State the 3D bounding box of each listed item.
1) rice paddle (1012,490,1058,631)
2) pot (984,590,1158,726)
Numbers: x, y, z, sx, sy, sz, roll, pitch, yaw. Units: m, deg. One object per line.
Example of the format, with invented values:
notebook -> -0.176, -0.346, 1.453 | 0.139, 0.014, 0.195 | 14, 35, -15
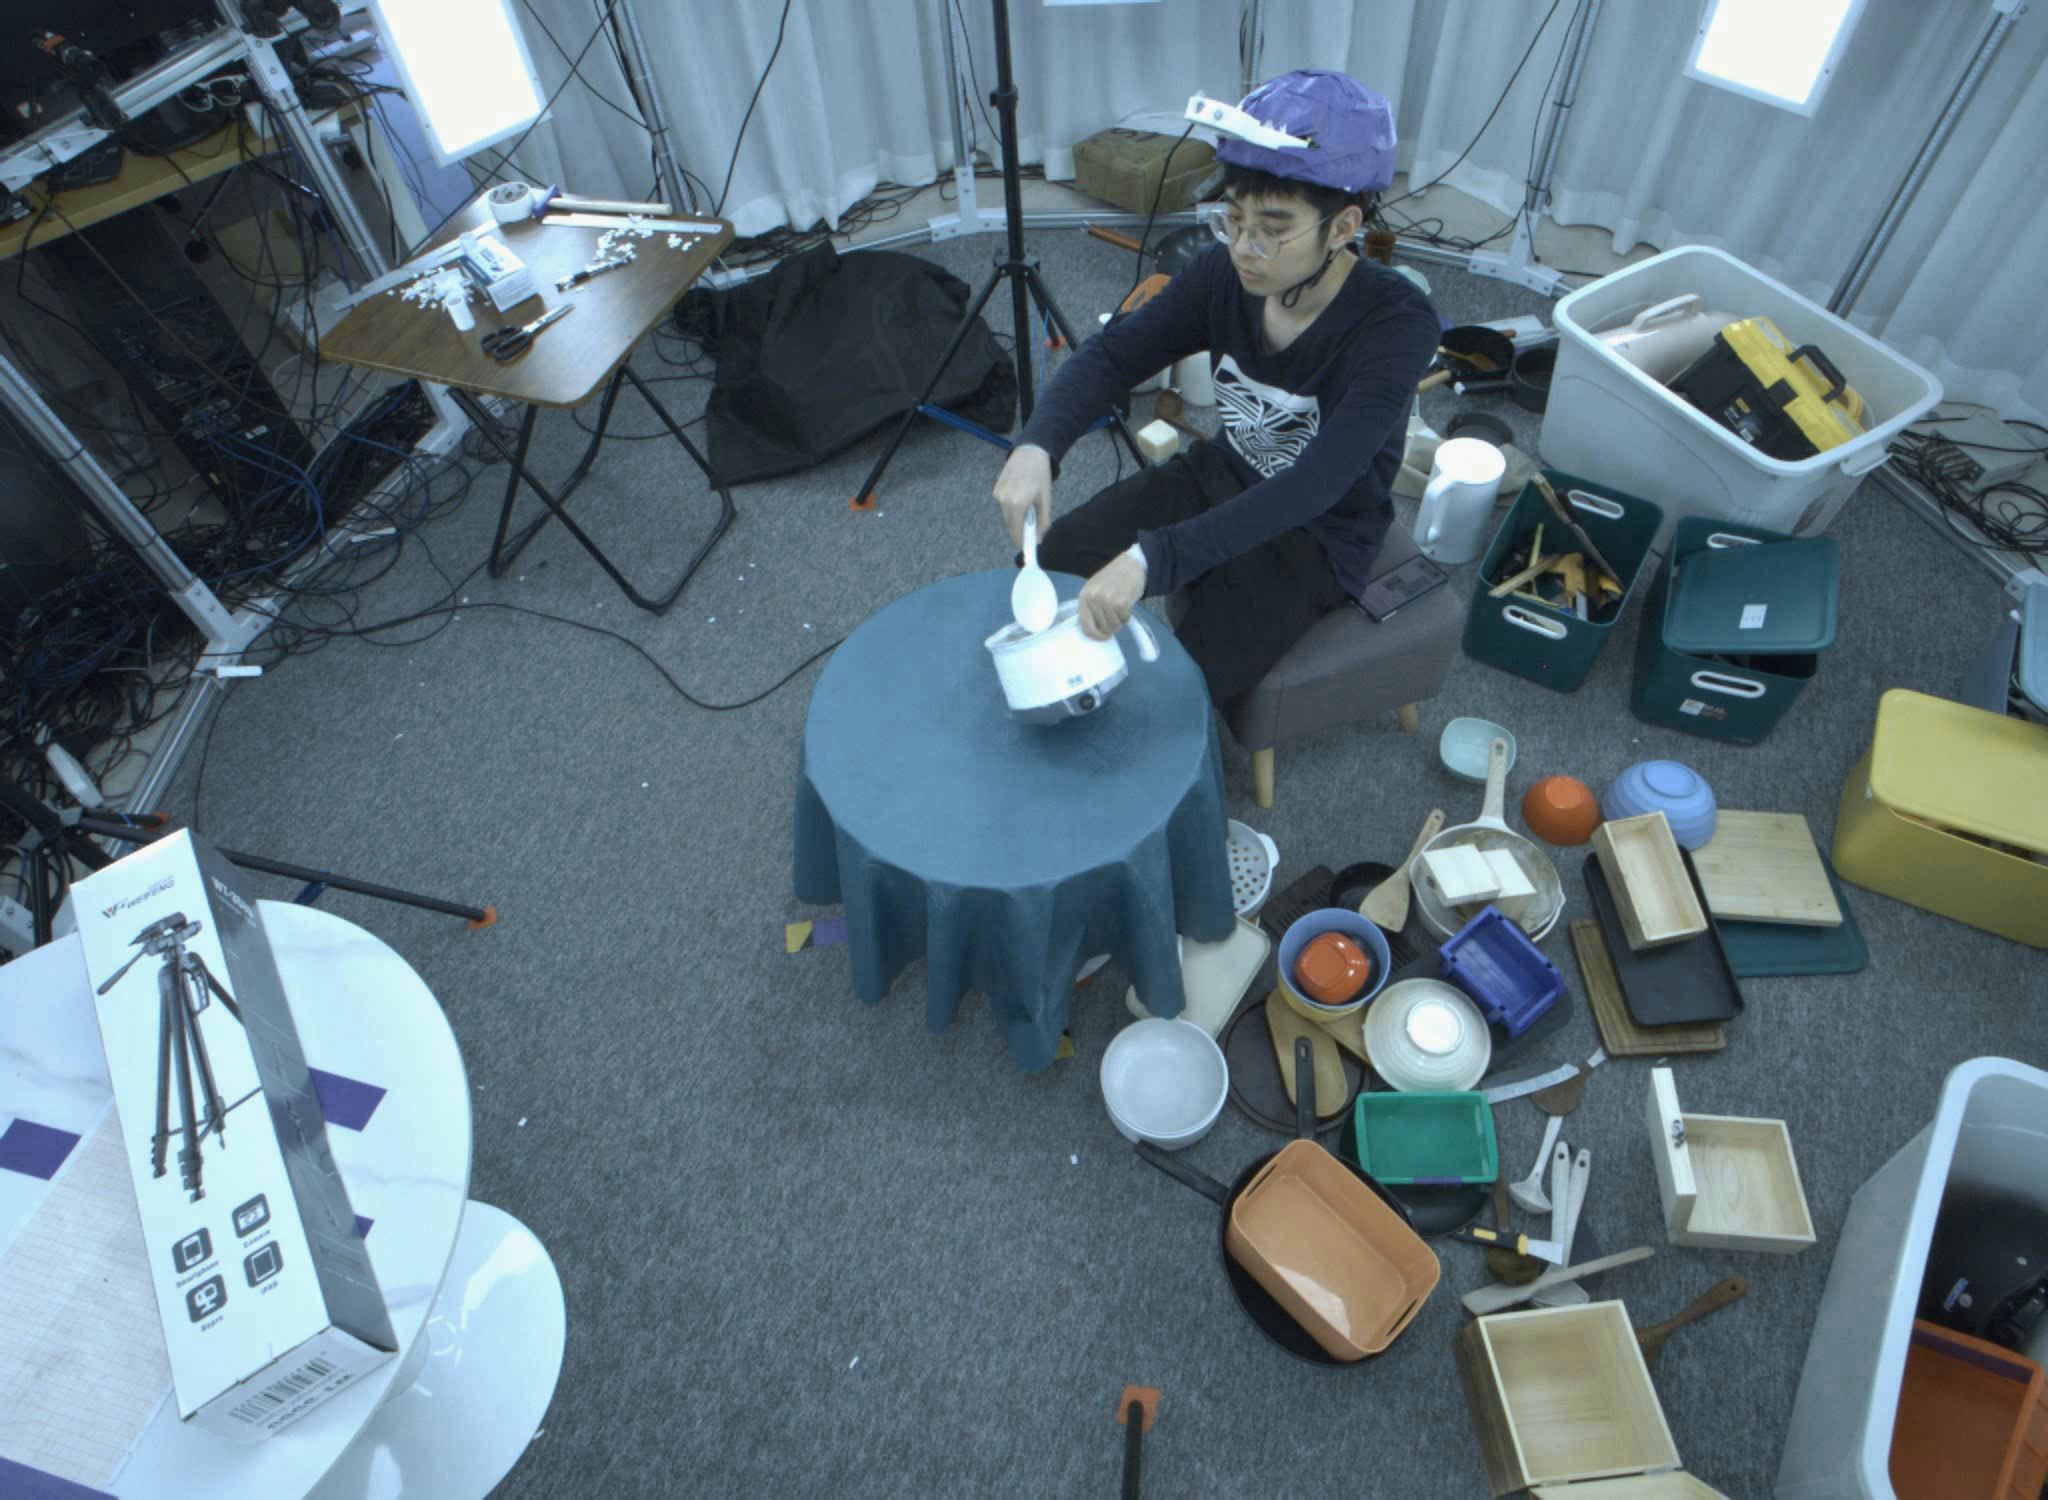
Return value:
rice paddle -> 0.010, -0.277, 1.794 | 0.069, 0.029, 0.205 | -8, 92, -19
pot -> 0.073, -0.139, 1.770 | 0.235, 0.138, 0.176 | -26, 19, -10
